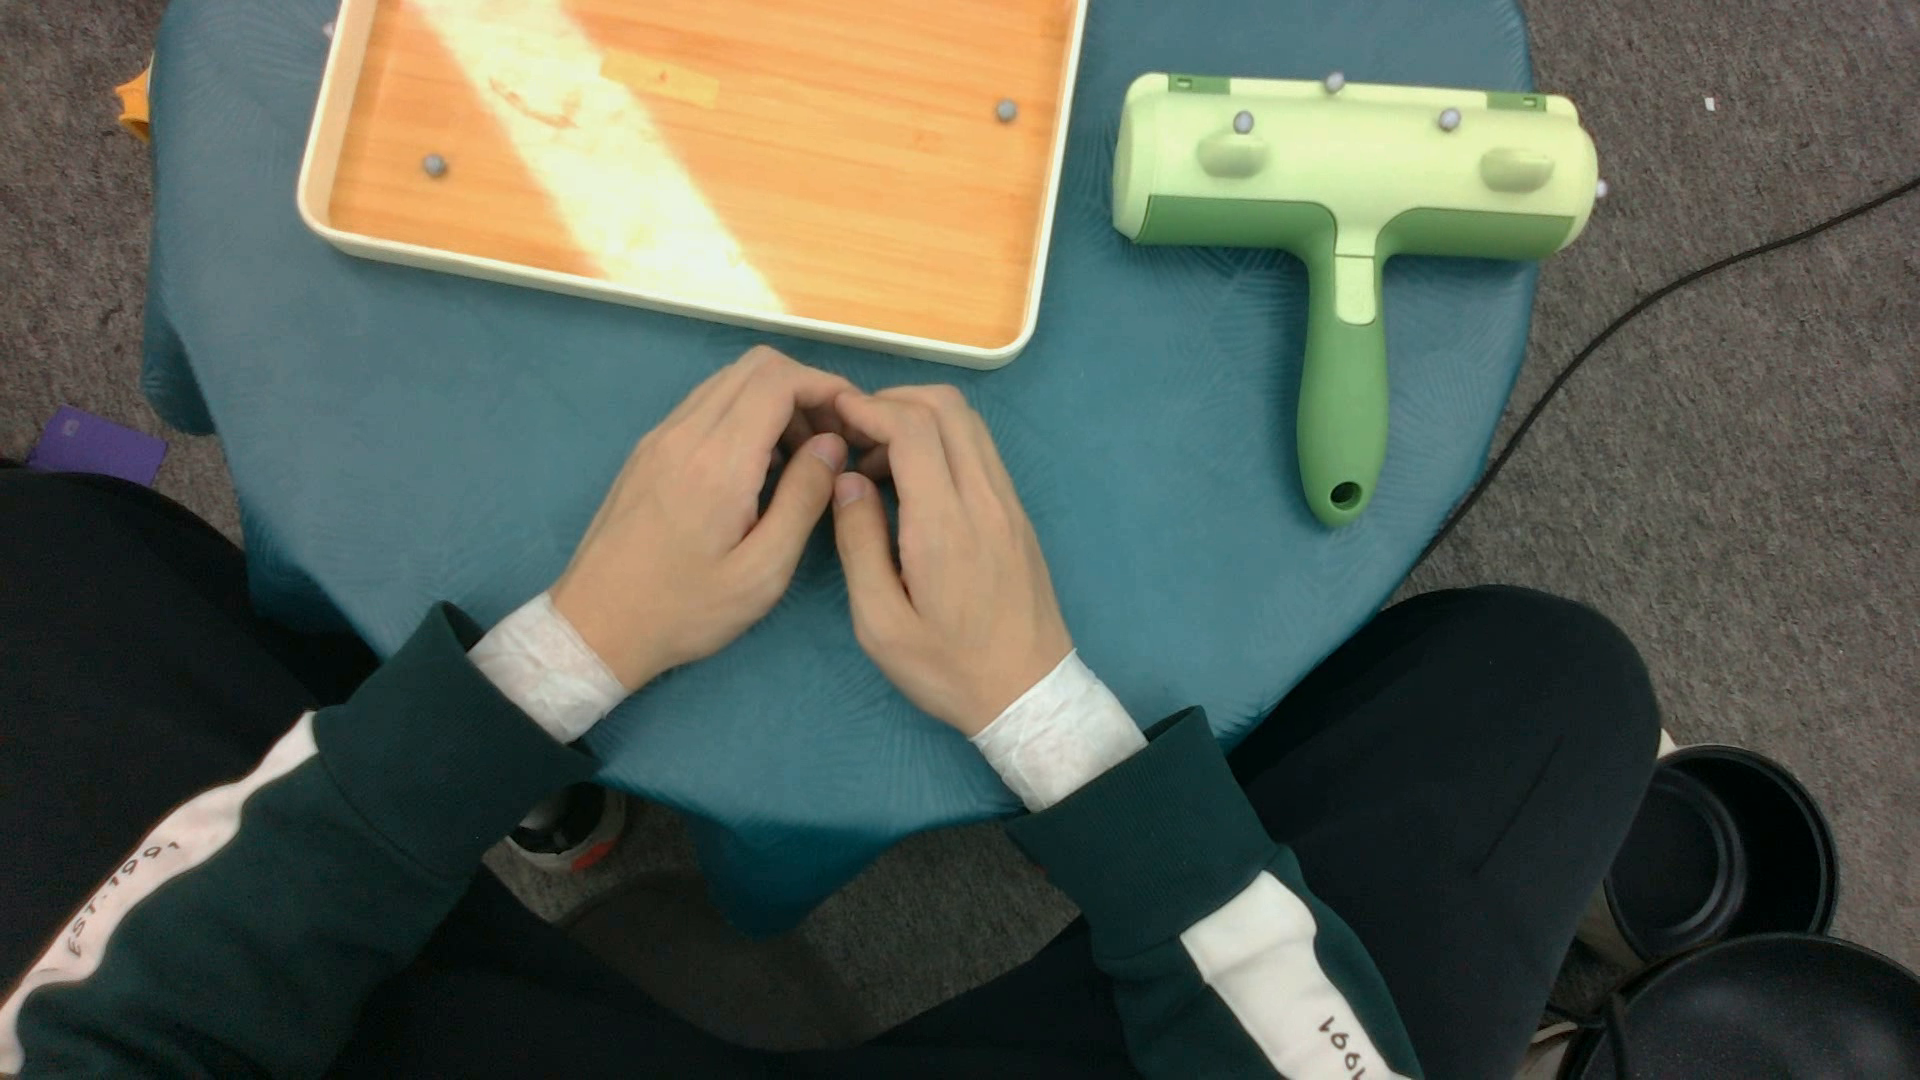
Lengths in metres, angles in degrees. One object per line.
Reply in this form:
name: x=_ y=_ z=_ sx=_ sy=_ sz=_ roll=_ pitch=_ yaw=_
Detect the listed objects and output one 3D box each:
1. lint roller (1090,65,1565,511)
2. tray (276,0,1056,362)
lint roller: x=0.156 y=-0.108 z=0.570 sx=0.199 sy=0.082 sz=0.183 roll=1 pitch=78 yaw=-5
tray: x=-0.115 y=-0.188 z=0.581 sx=0.300 sy=0.027 sz=0.192 roll=8 pitch=82 yaw=-4
